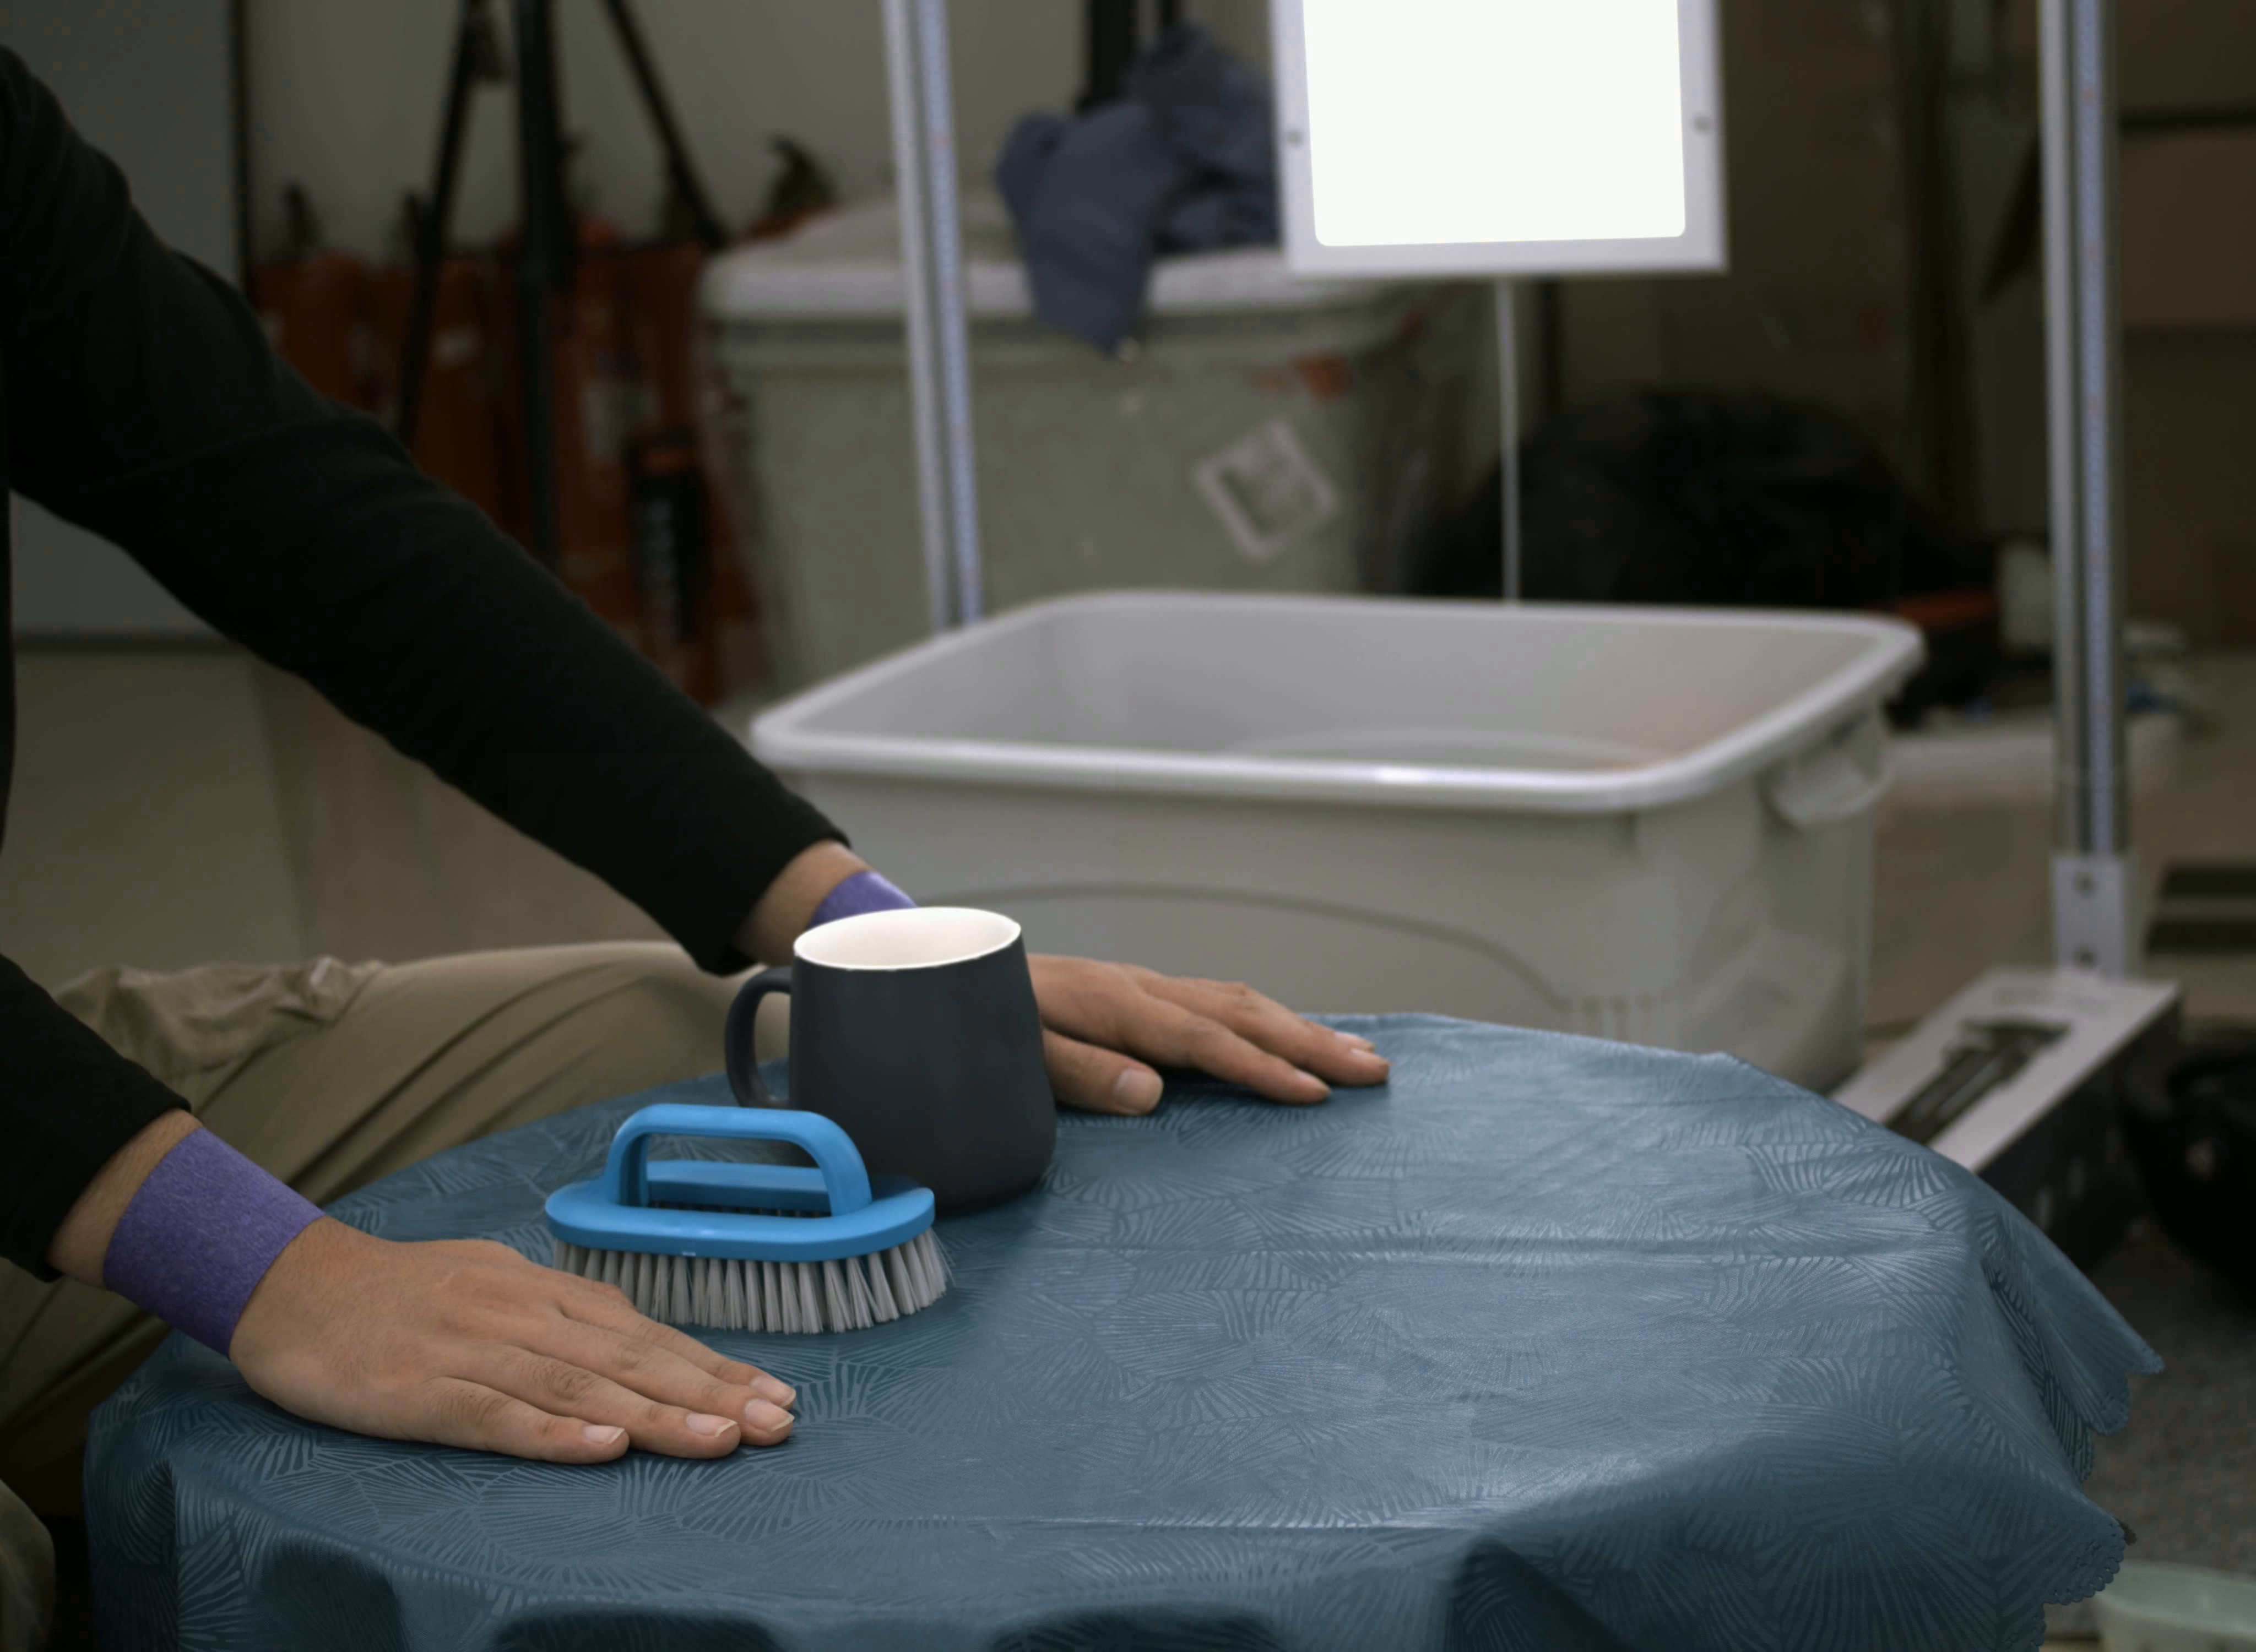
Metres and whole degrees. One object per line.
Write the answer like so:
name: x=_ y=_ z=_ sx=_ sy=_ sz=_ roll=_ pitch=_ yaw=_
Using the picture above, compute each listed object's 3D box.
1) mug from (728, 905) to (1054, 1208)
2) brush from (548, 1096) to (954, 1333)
mug: x=-0.086 y=0.079 z=1.924 sx=0.125 sy=0.090 sz=0.091 roll=6 pitch=16 yaw=32
brush: x=-0.129 y=0.122 z=1.825 sx=0.144 sy=0.064 sz=0.082 roll=1 pitch=20 yaw=28
